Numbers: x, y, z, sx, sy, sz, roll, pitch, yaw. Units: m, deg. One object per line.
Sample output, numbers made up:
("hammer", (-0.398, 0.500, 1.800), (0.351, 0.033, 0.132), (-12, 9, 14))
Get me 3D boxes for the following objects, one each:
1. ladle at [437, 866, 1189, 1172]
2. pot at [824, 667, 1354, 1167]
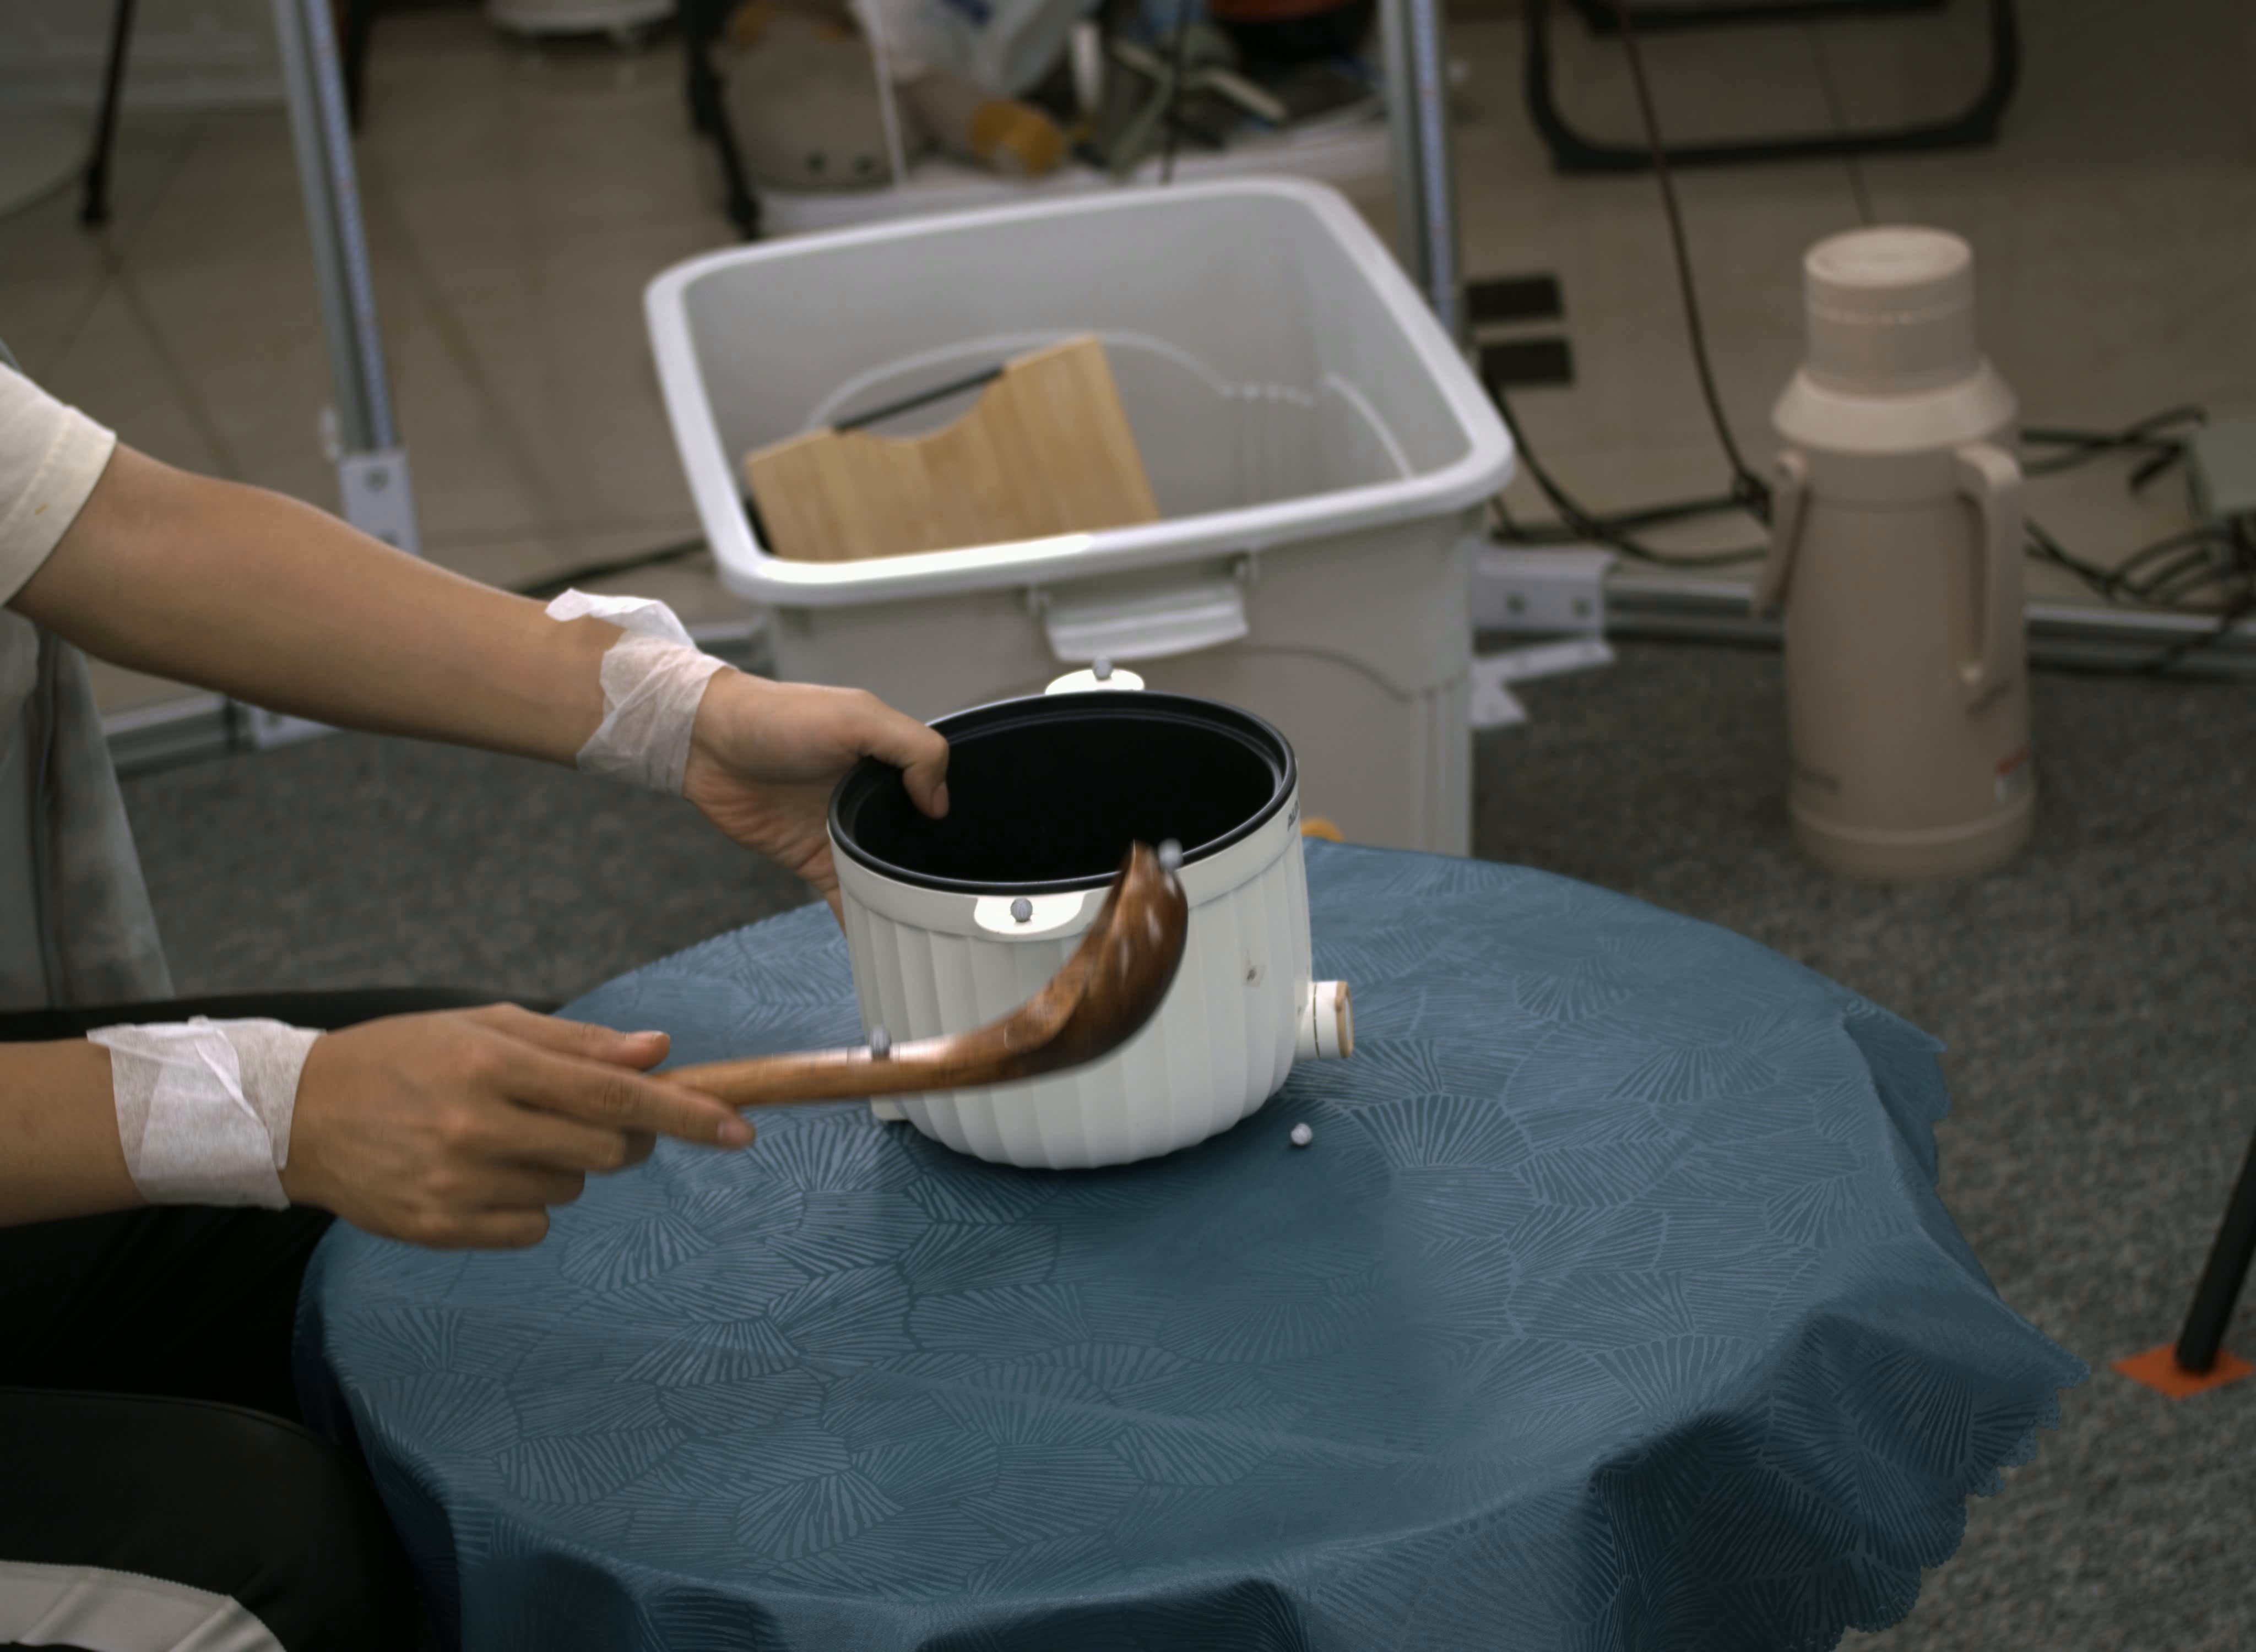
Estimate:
("ladle", (-0.111, 0.066, 1.935), (0.274, 0.077, 0.081), (-7, 16, 10))
("pot", (-0.013, 0.042, 2.194), (0.190, 0.145, 0.237), (-6, 26, 10))
